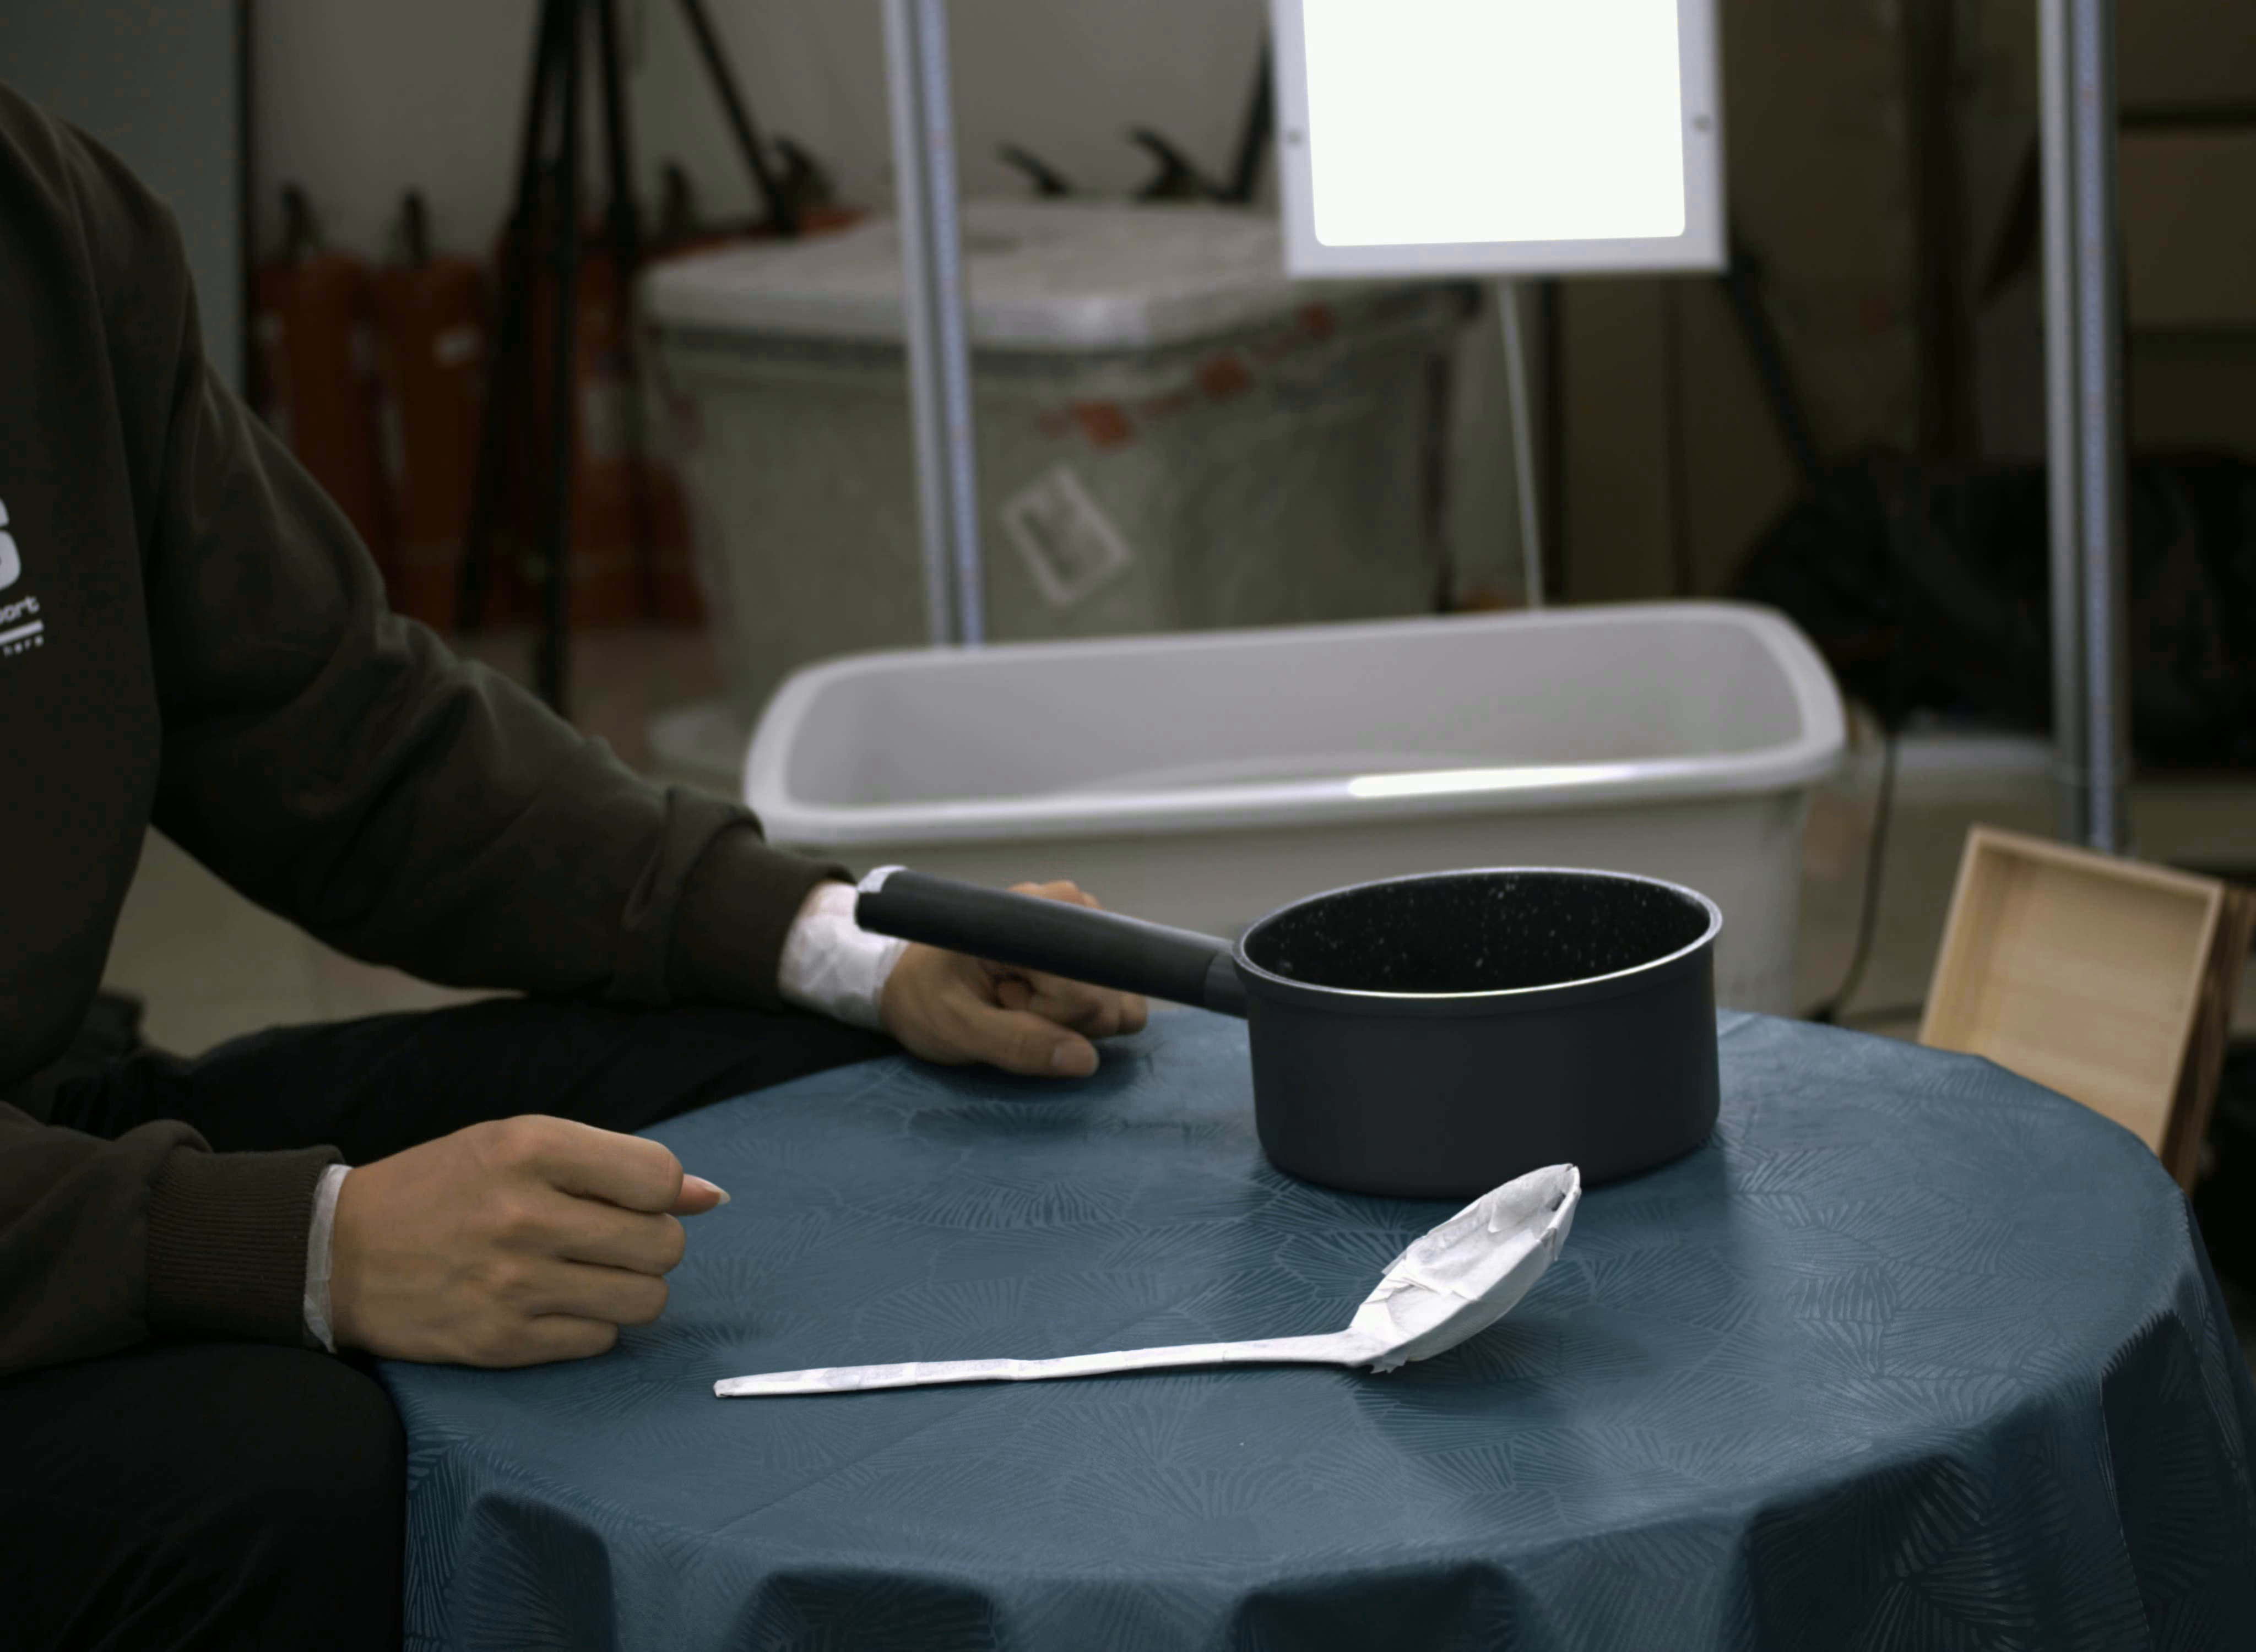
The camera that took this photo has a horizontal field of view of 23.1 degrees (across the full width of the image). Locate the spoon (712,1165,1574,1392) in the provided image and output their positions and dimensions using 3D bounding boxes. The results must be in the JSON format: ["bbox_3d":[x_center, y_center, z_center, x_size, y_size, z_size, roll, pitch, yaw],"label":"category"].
[{"bbox_3d":[0.004,0.142,1.727,0.279,0.059,0.100,-3,12,10],"label":"spoon"}]

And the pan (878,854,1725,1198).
[{"bbox_3d":[0.056,0.064,1.962,0.335,0.087,0.168,4,15,31],"label":"pan"}]
